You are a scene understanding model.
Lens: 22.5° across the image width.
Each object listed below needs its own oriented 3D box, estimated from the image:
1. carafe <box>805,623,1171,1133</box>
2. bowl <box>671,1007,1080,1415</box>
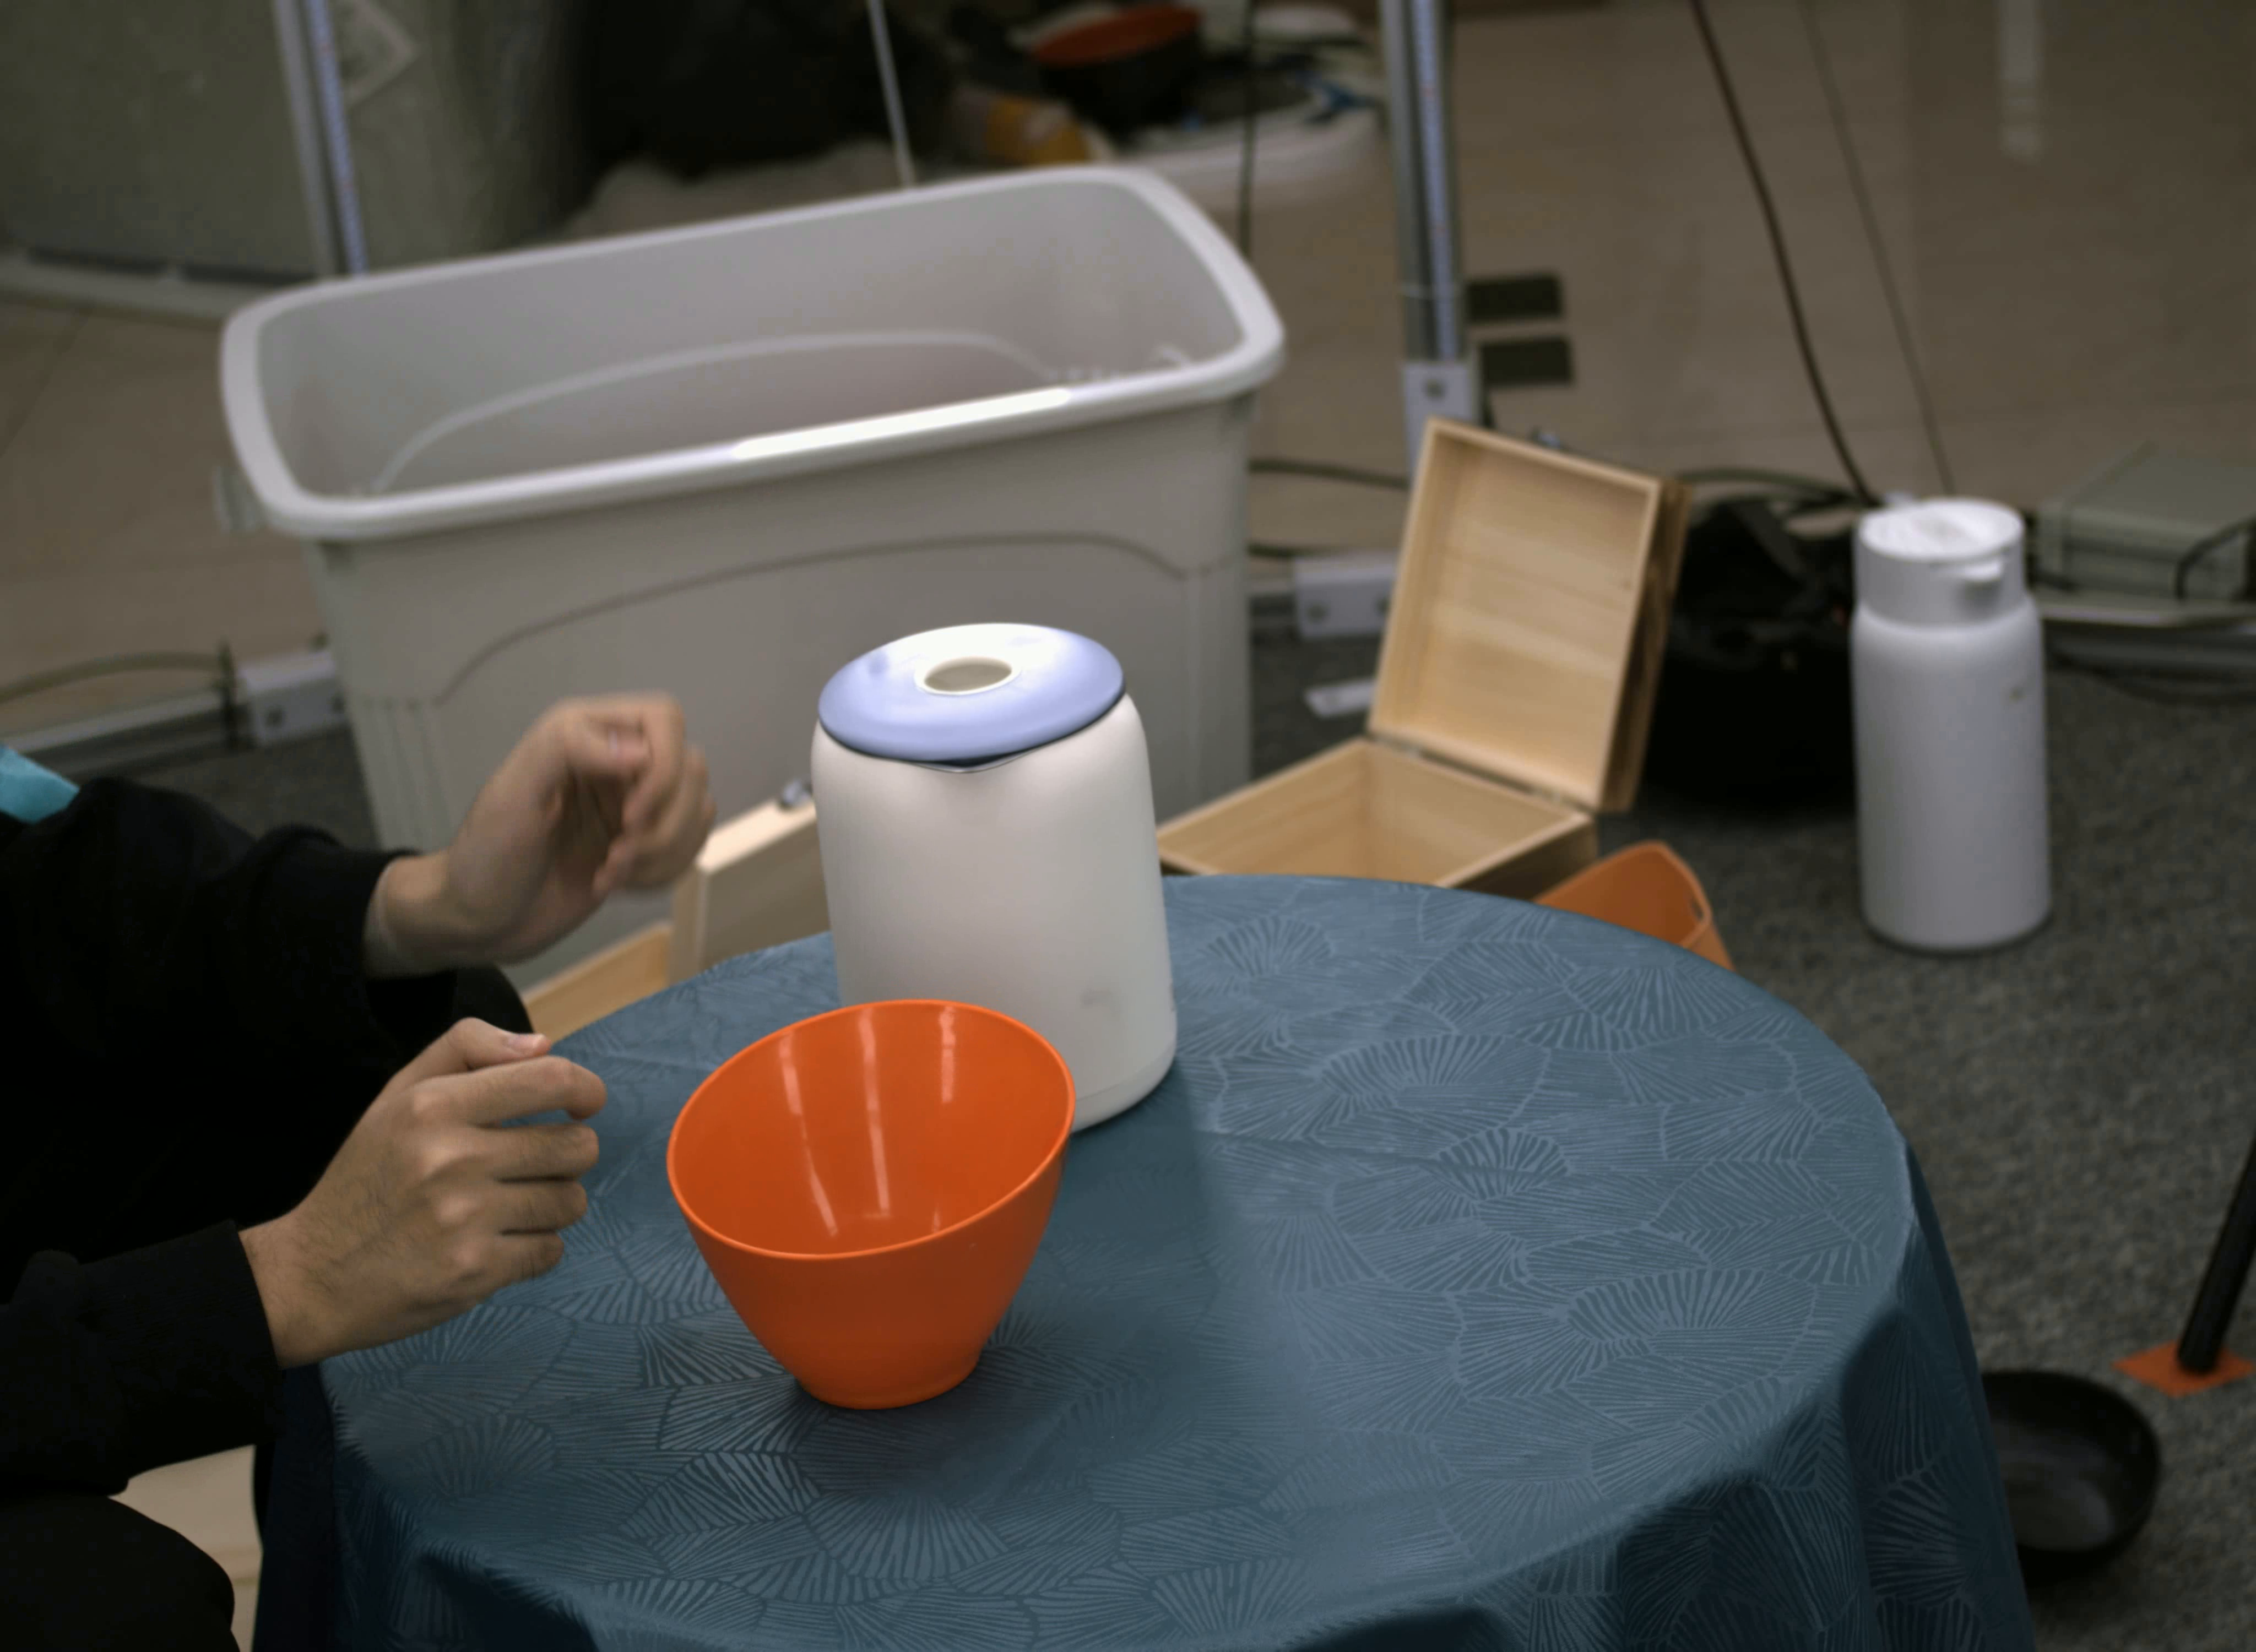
[{"bbox_3d":[-0.056,0.013,2.224,0.132,0.185,0.188,-6,23,-1],"label":"carafe"},{"bbox_3d":[-0.086,0.144,2.034,0.148,0.106,0.146,-5,25,2],"label":"bowl"}]
